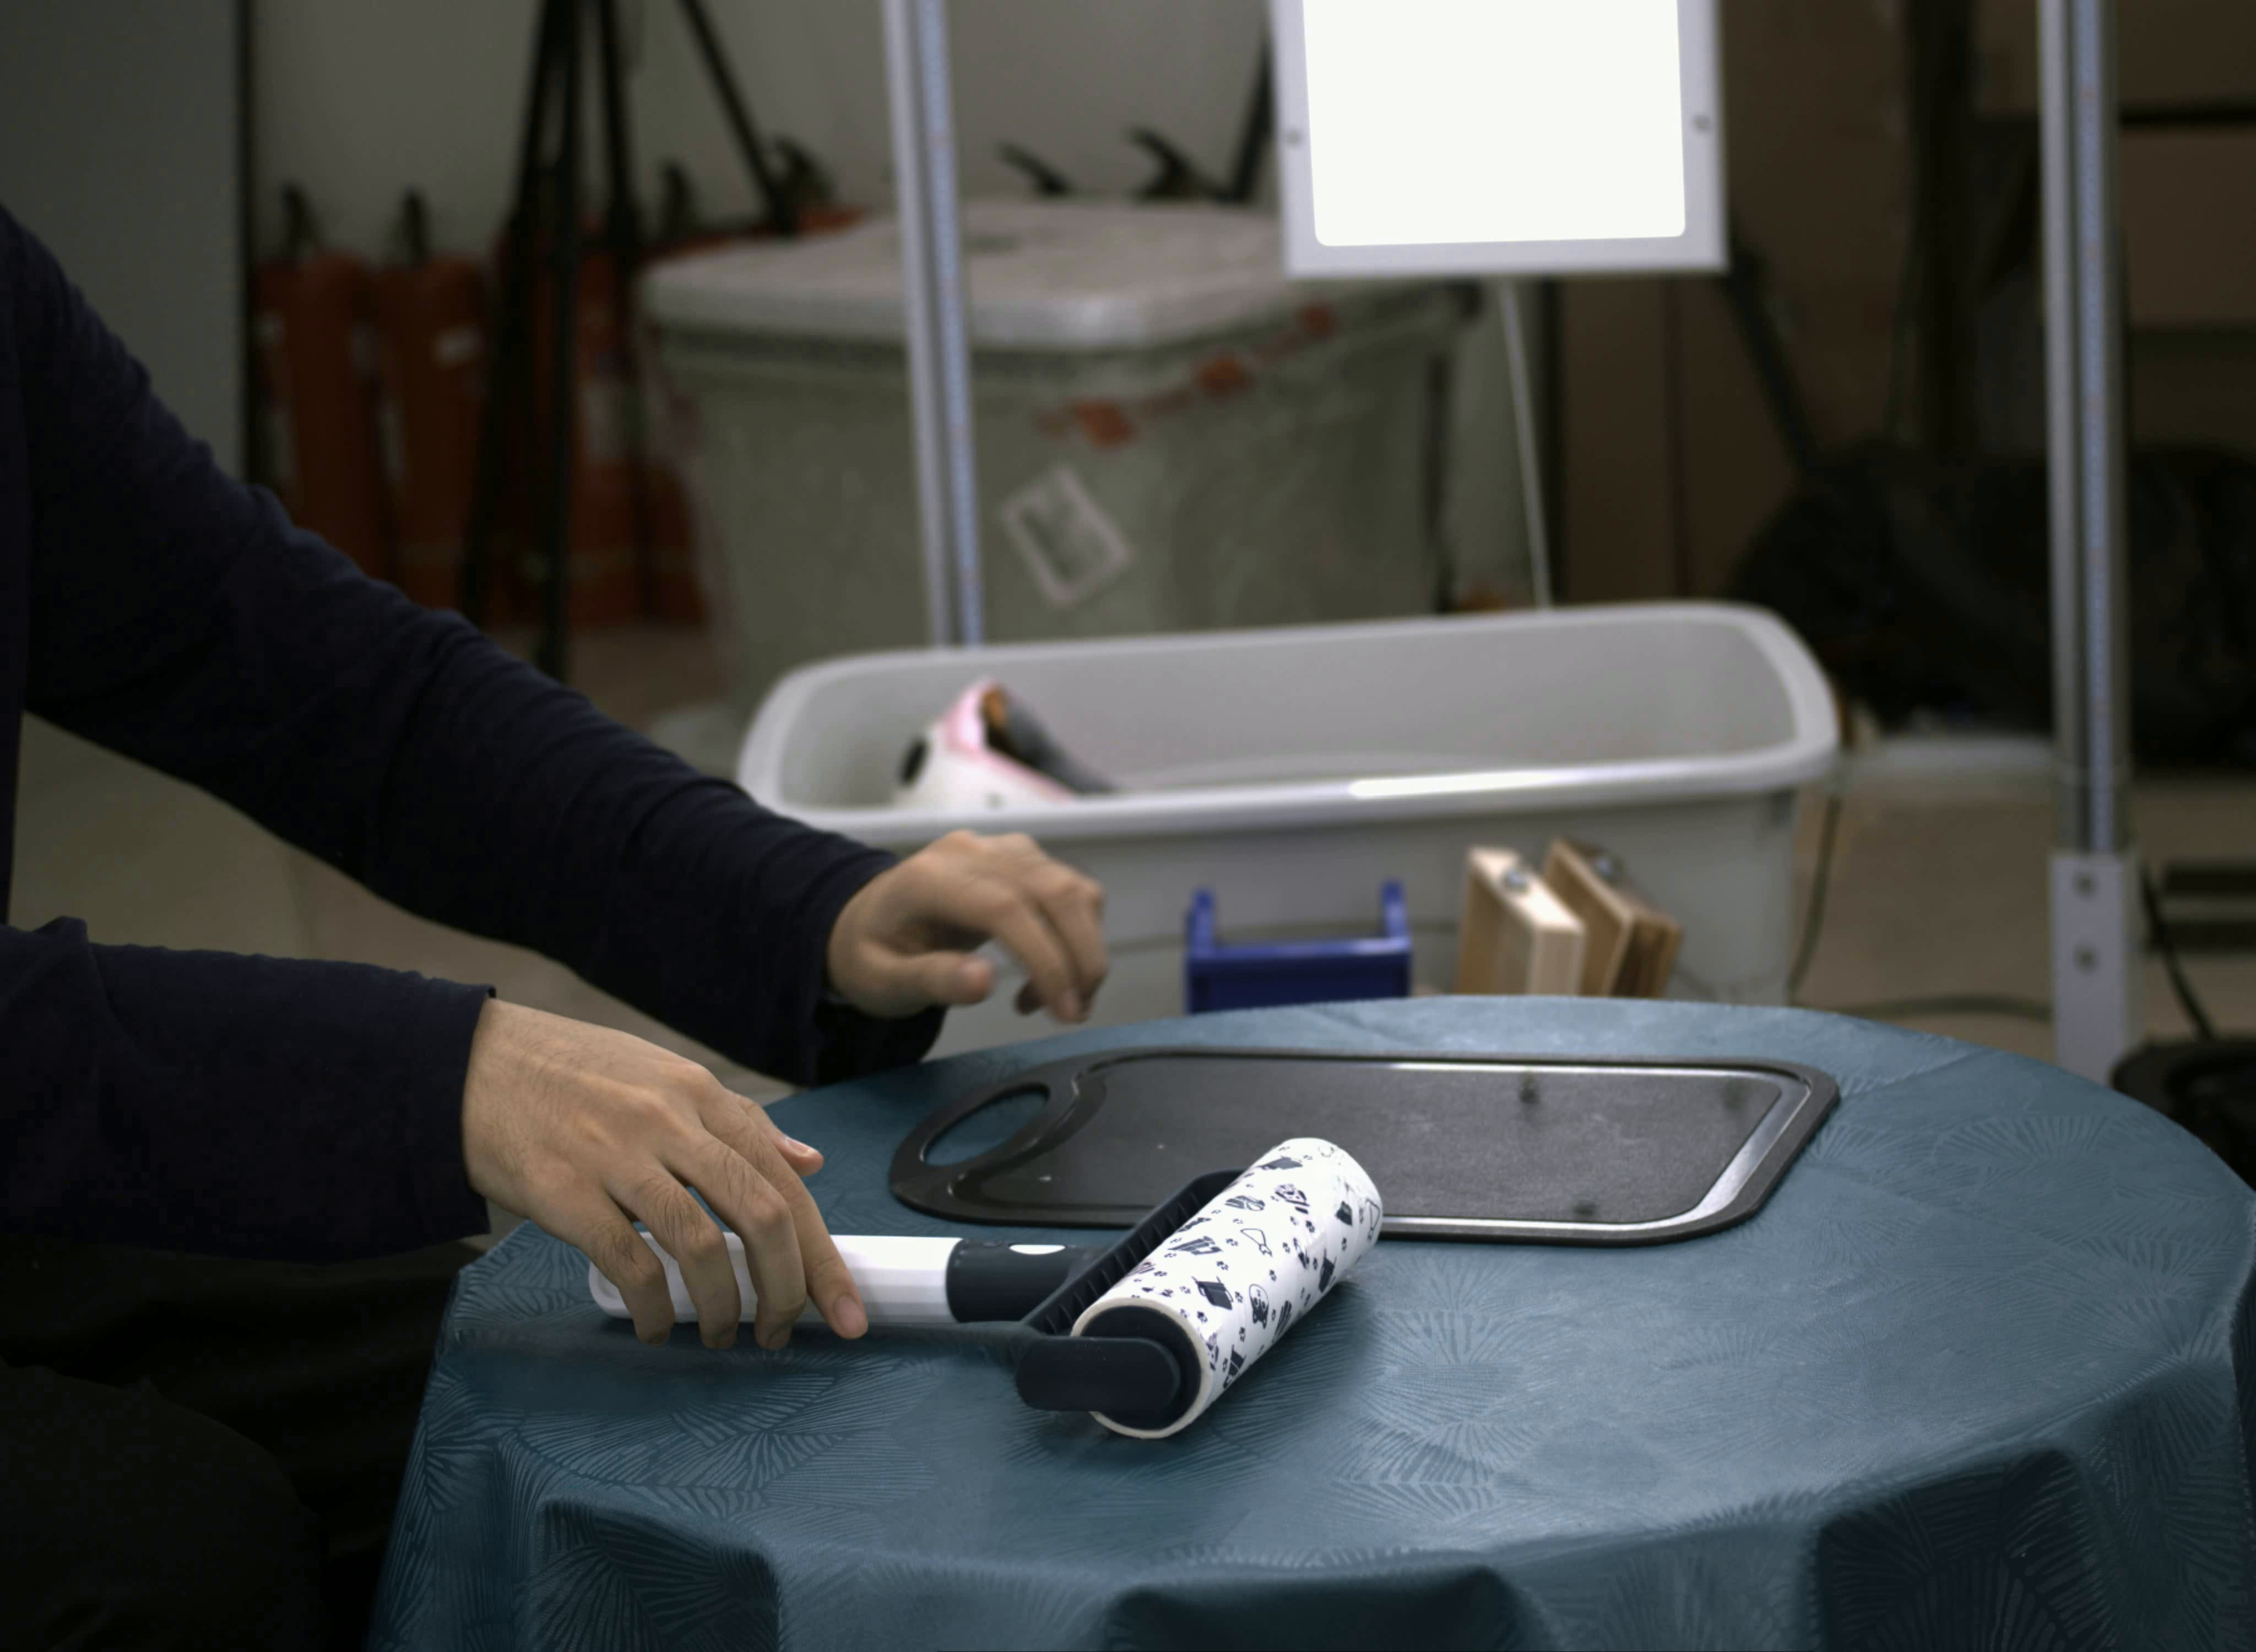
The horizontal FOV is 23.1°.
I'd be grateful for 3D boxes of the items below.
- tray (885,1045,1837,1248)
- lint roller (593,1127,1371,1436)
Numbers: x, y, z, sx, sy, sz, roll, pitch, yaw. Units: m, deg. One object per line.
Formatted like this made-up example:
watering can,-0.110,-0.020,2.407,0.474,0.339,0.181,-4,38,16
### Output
tray,0.076,0.108,1.935,0.330,0.010,0.207,1,14,23
lint roller,-0.062,0.145,1.766,0.251,0.050,0.173,-2,15,24
